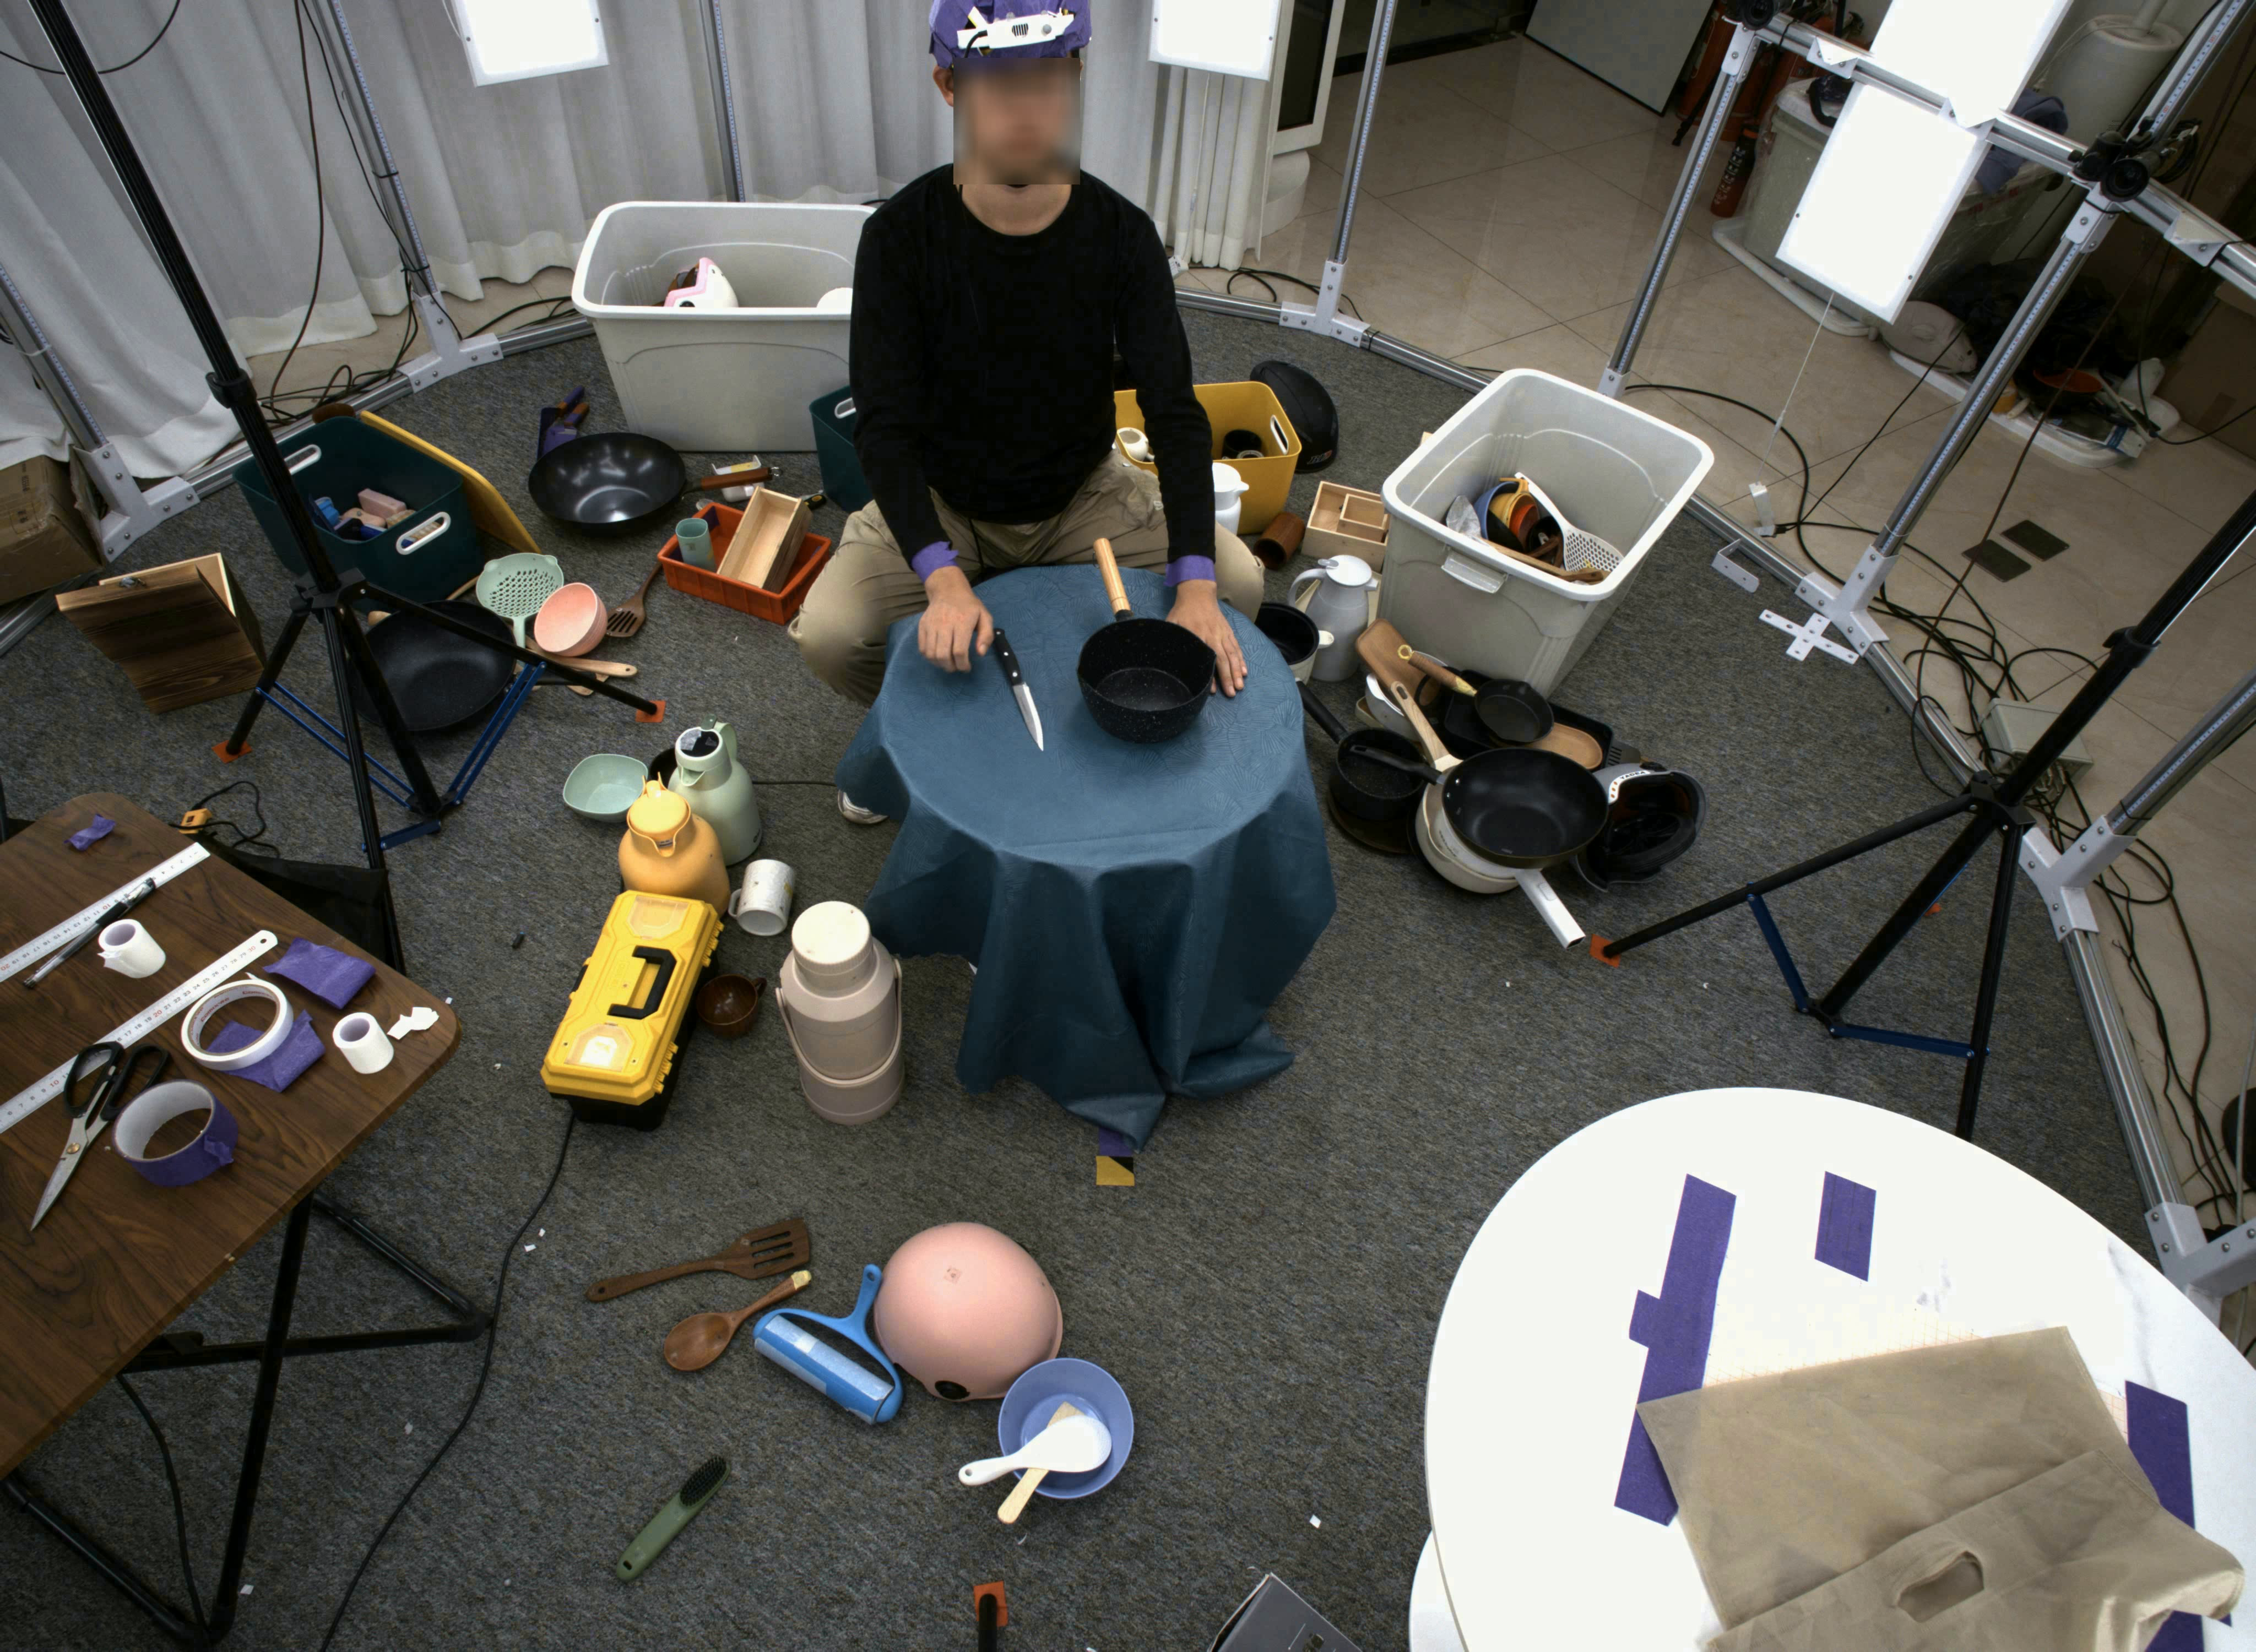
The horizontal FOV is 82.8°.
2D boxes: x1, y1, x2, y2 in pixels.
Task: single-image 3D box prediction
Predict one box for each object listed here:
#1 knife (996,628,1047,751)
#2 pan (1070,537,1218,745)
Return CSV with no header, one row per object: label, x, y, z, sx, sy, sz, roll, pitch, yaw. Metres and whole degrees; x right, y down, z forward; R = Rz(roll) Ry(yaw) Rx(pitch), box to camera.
knife,-0.152,-0.195,1.821,0.024,0.016,0.244,-10,53,-16
pan,0.002,-0.263,1.830,0.207,0.105,0.351,-11,52,-12
